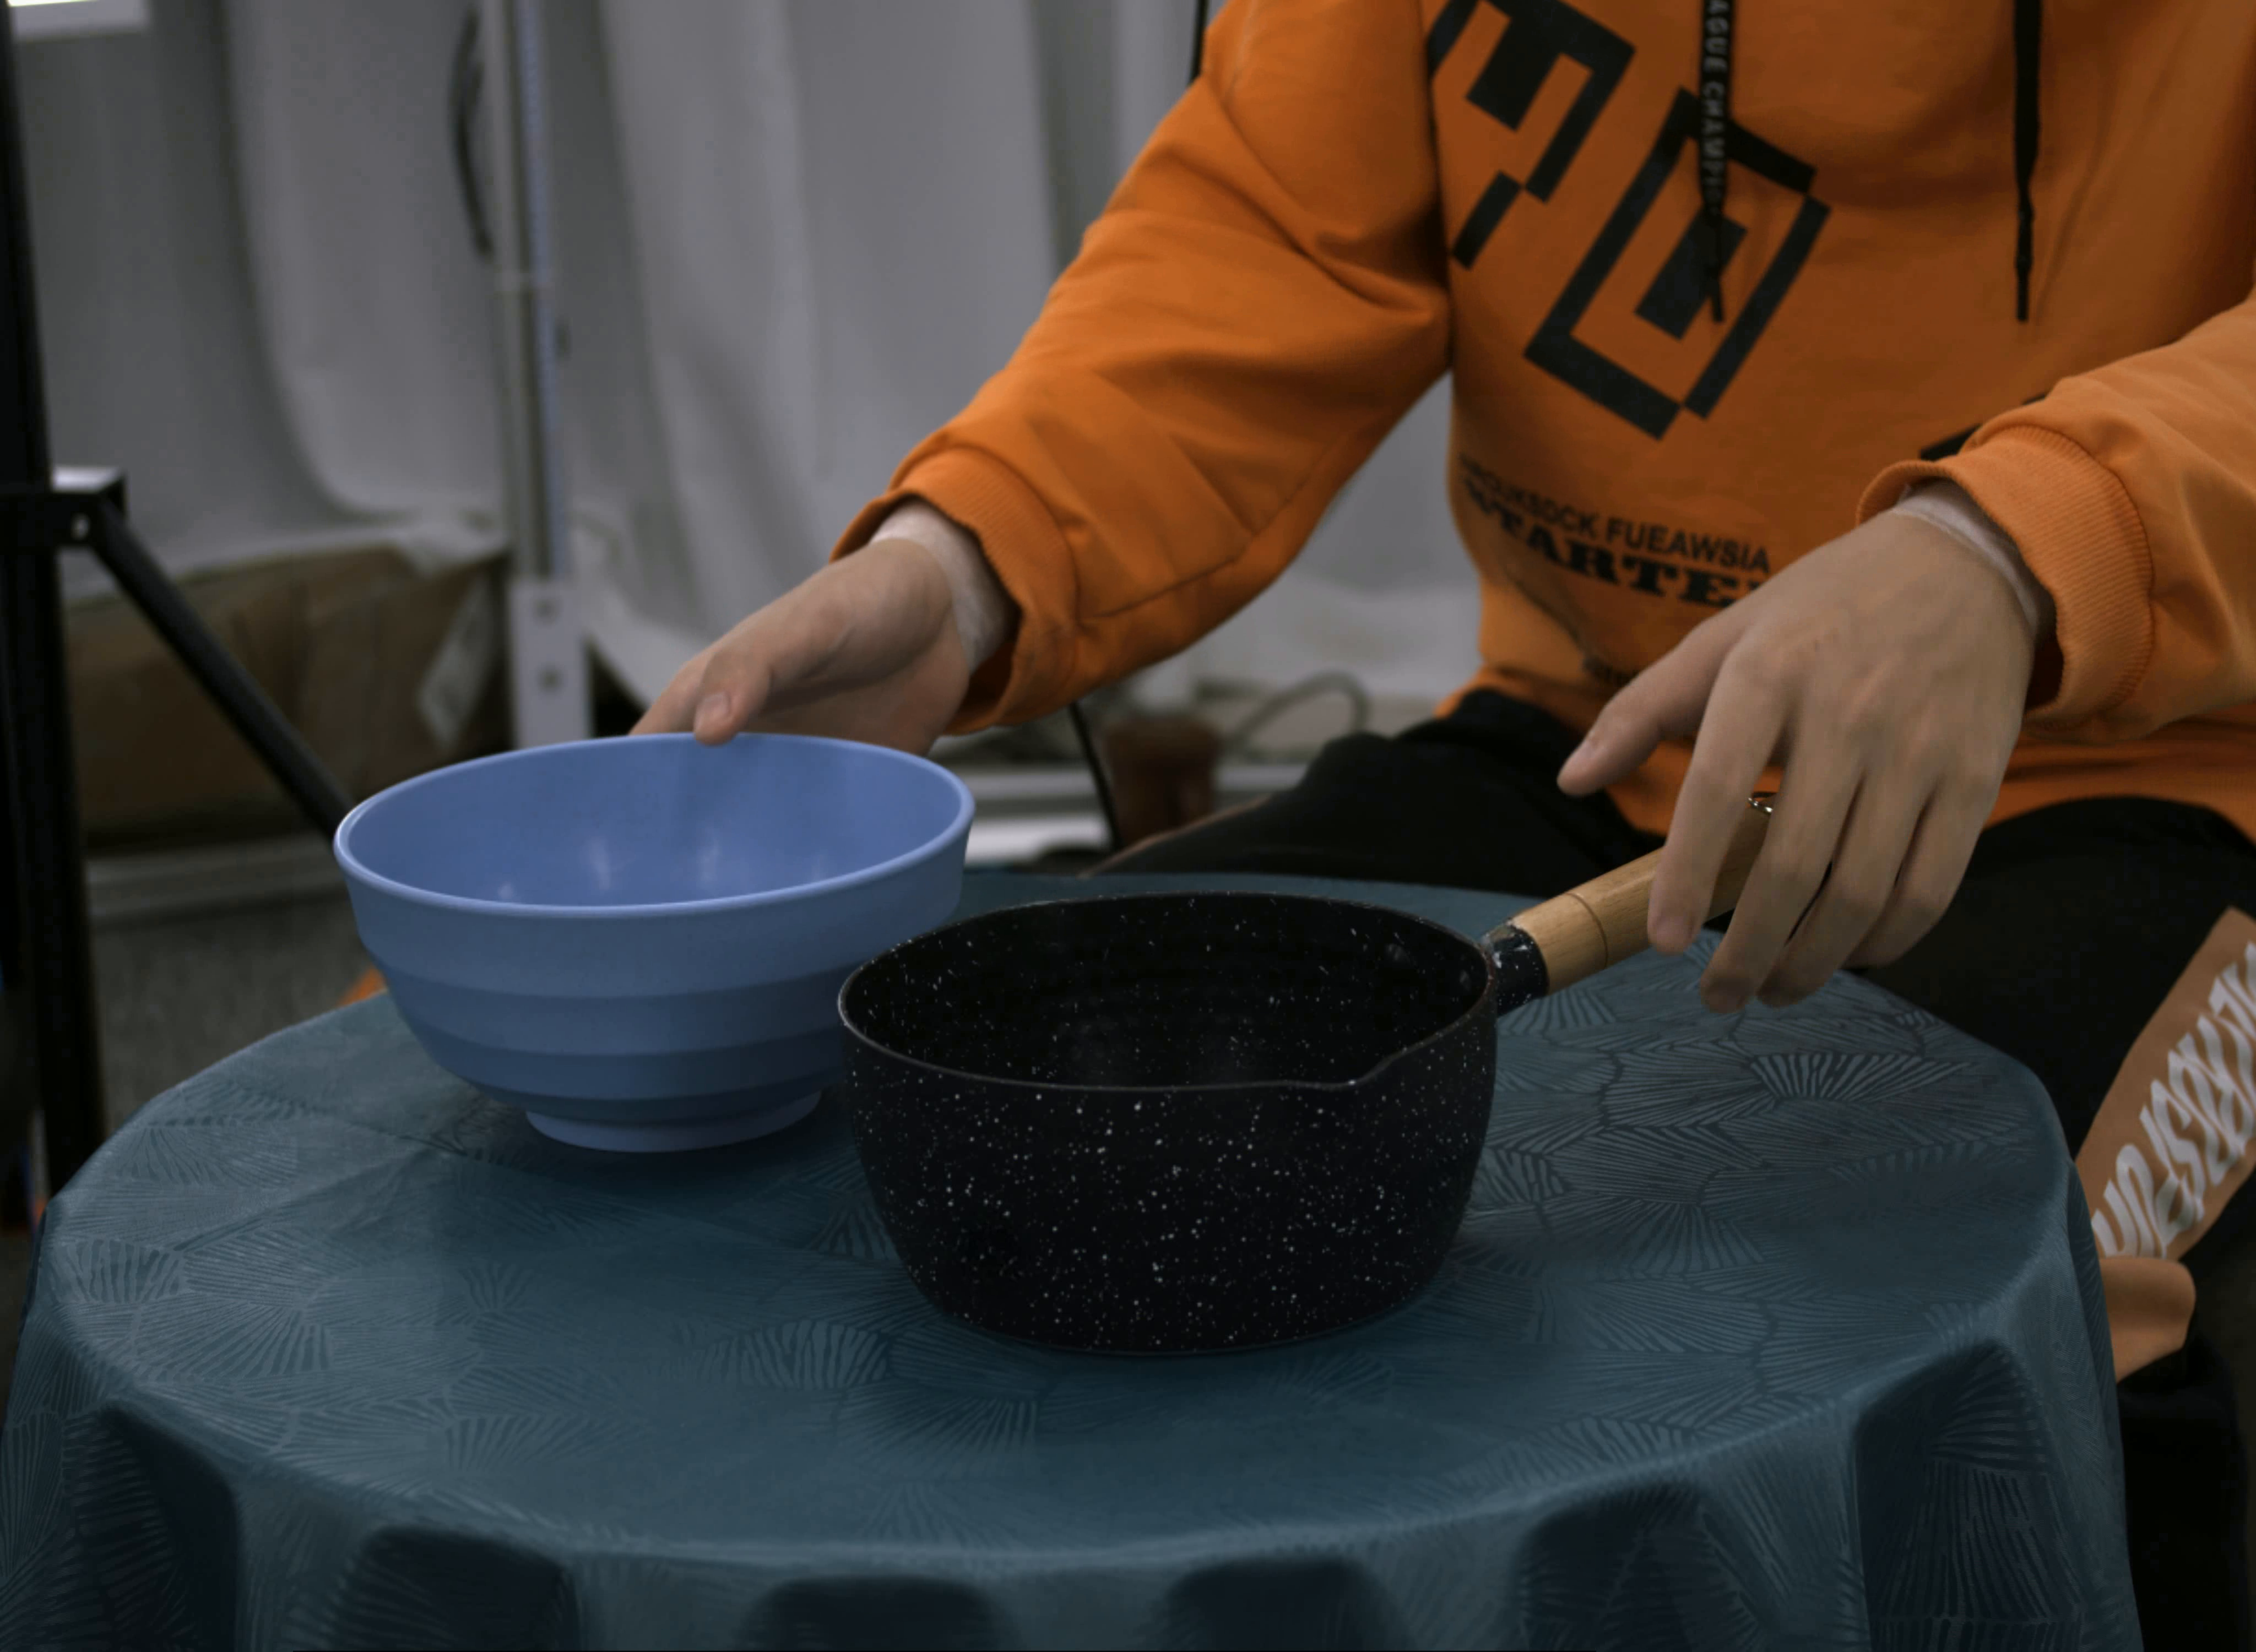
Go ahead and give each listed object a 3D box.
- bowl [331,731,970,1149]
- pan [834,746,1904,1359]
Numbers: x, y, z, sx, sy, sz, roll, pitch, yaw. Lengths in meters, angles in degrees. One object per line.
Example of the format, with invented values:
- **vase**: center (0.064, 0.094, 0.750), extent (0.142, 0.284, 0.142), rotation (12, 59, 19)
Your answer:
- **bowl**: center (-0.143, 0.040, 1.644), extent (0.195, 0.095, 0.197), rotation (-4, 16, 0)
- **pan**: center (0.080, 0.059, 1.518), extent (0.335, 0.108, 0.212), rotation (-12, 17, -27)
